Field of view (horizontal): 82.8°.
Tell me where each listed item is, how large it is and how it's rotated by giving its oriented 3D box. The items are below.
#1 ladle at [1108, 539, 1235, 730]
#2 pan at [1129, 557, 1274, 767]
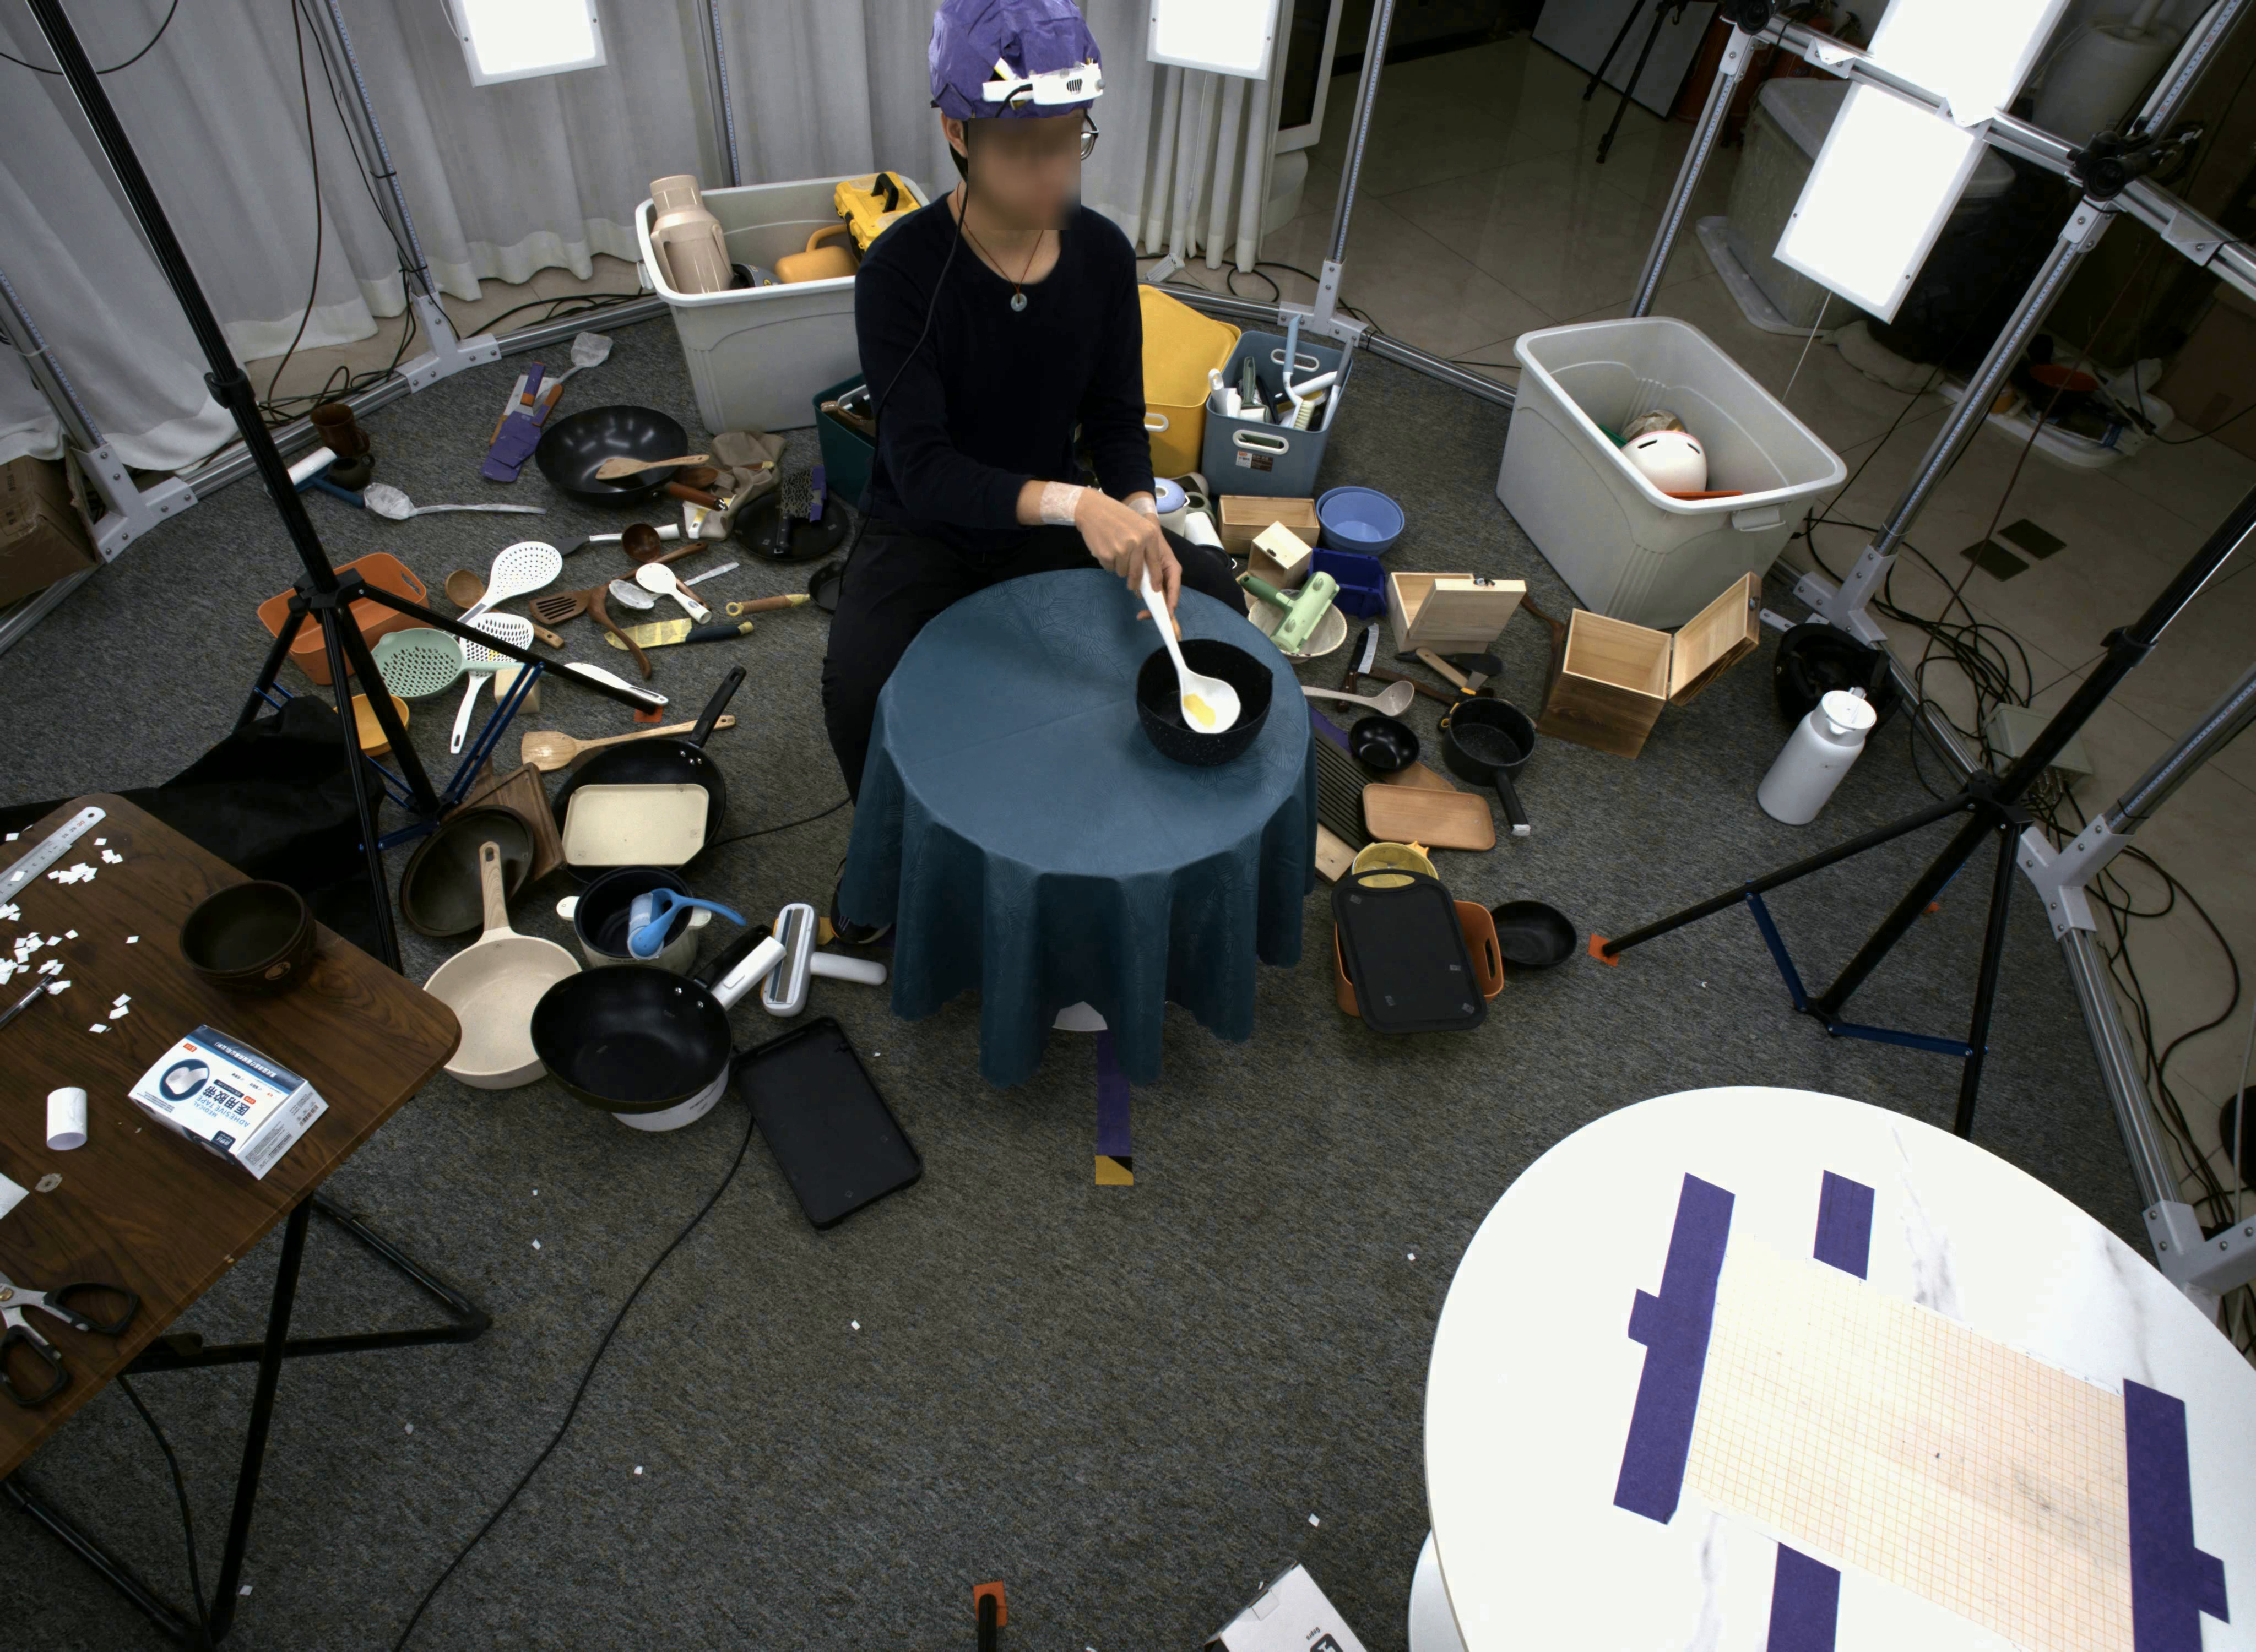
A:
[{"bbox_3d":[0.055,-0.249,1.727,0.090,0.287,0.071,-35,31,-12],"label":"ladle"},{"bbox_3d":[0.074,-0.231,1.804,0.207,0.105,0.351,-14,53,-15],"label":"pan"}]
